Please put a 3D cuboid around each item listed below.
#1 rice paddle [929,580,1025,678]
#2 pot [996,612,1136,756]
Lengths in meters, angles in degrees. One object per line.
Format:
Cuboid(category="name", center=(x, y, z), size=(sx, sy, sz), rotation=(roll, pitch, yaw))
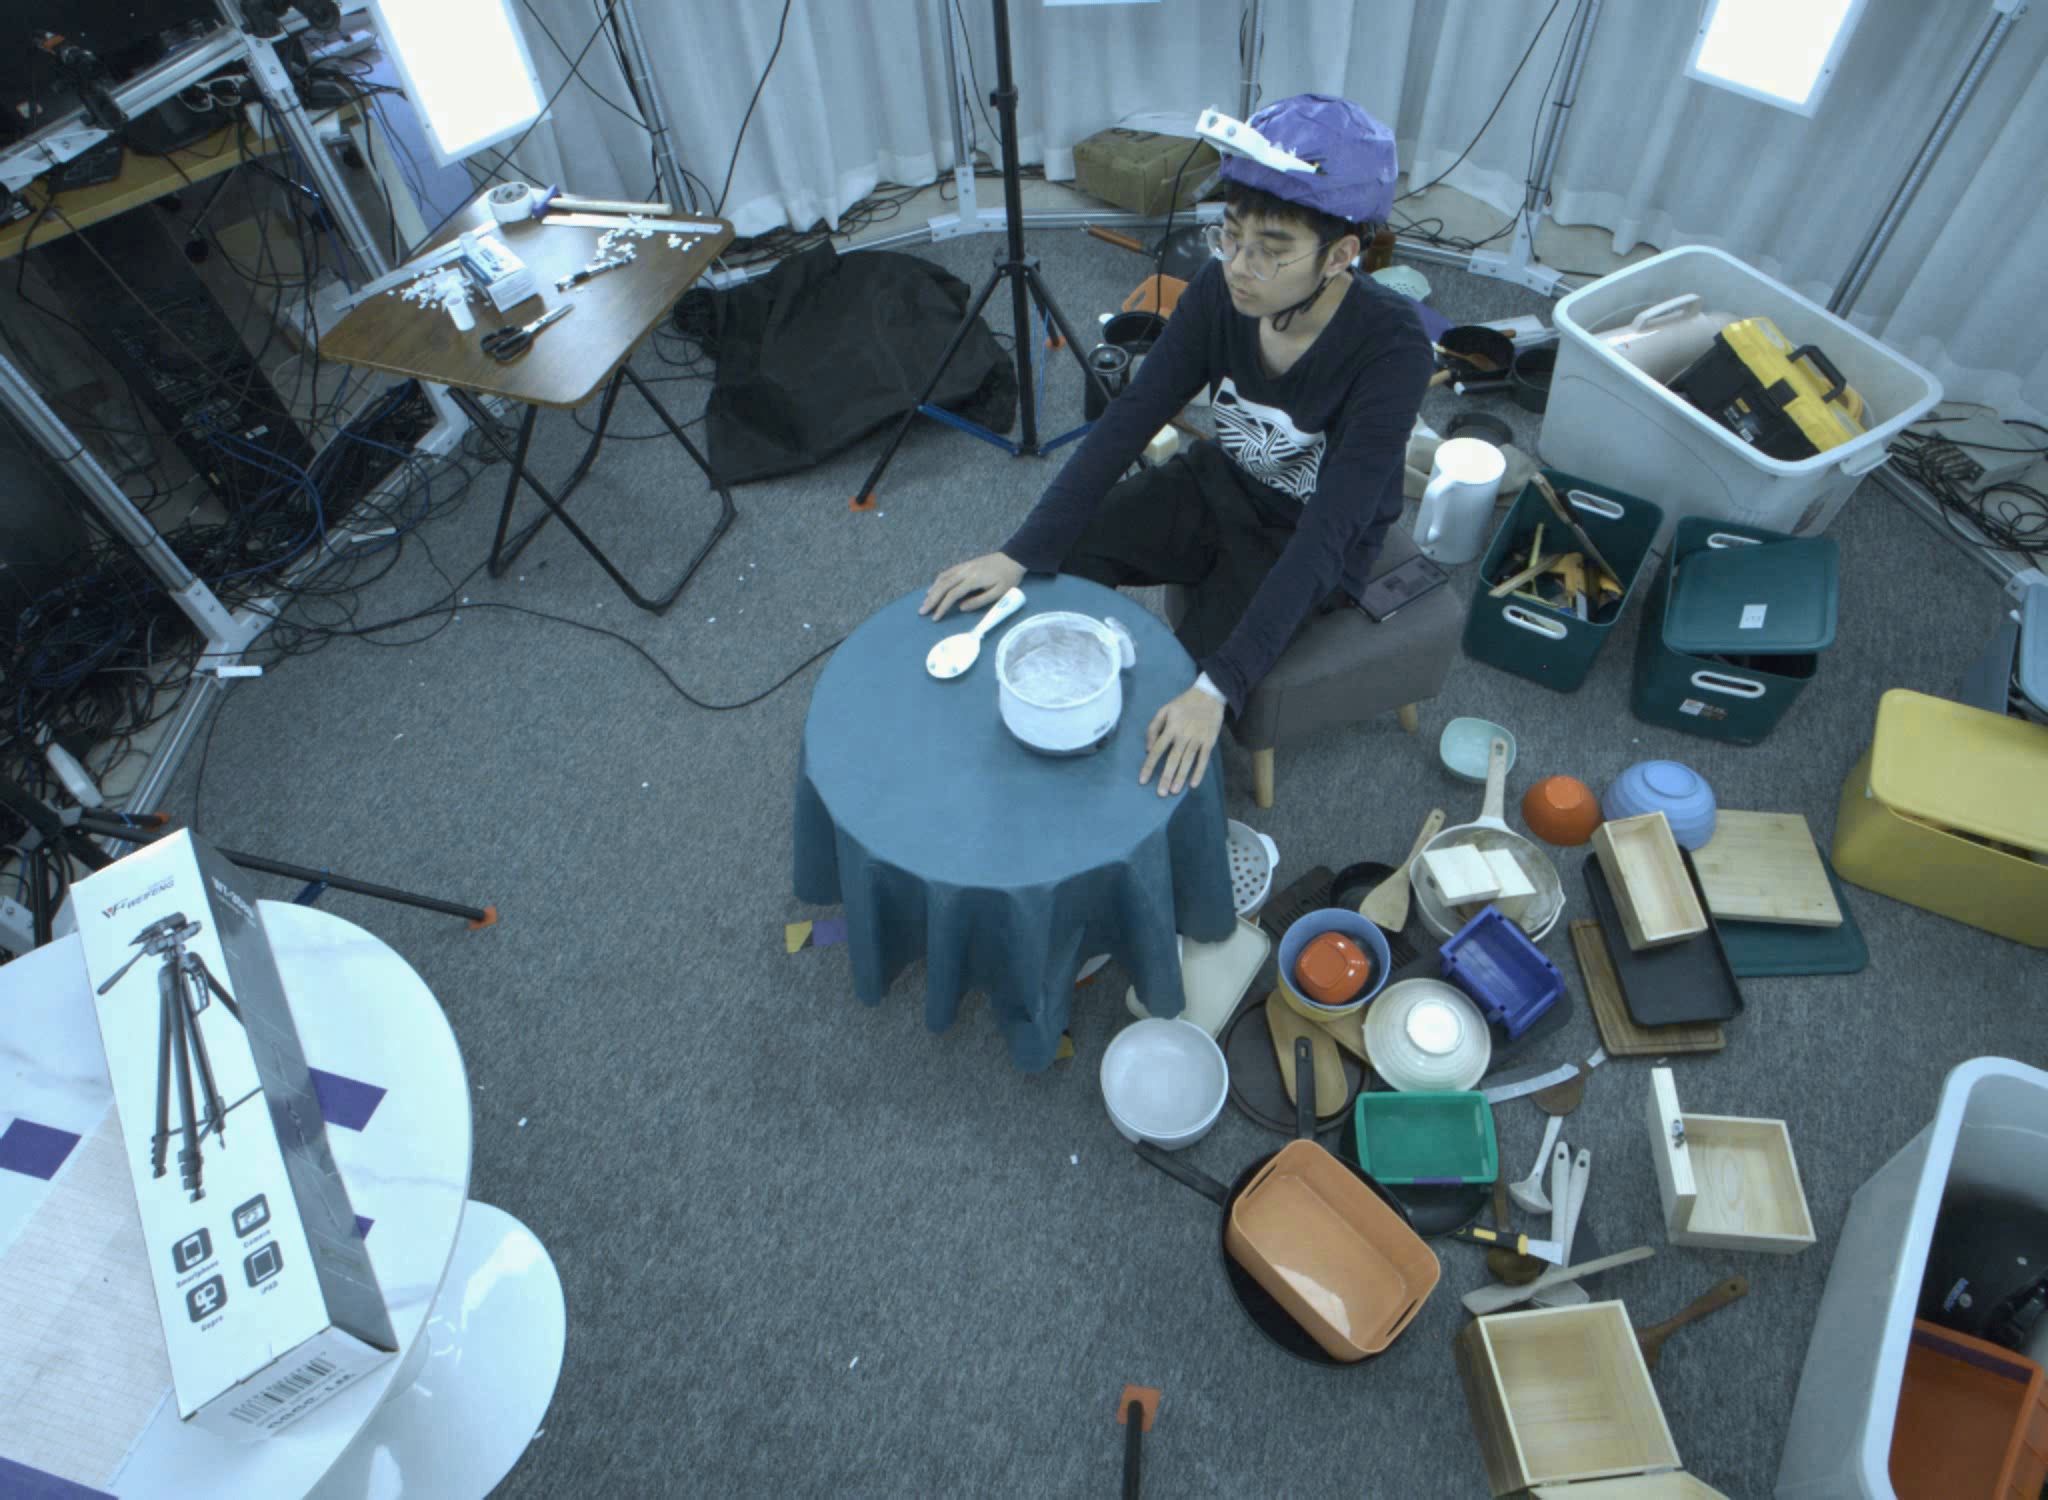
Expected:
Cuboid(category="rice paddle", center=(-0.073, -0.189, 1.921), size=(0.068, 0.029, 0.206), rotation=(35, 68, 17))
Cuboid(category="pot", center=(0.072, -0.107, 1.785), size=(0.235, 0.138, 0.176), rotation=(-39, 64, -23))
